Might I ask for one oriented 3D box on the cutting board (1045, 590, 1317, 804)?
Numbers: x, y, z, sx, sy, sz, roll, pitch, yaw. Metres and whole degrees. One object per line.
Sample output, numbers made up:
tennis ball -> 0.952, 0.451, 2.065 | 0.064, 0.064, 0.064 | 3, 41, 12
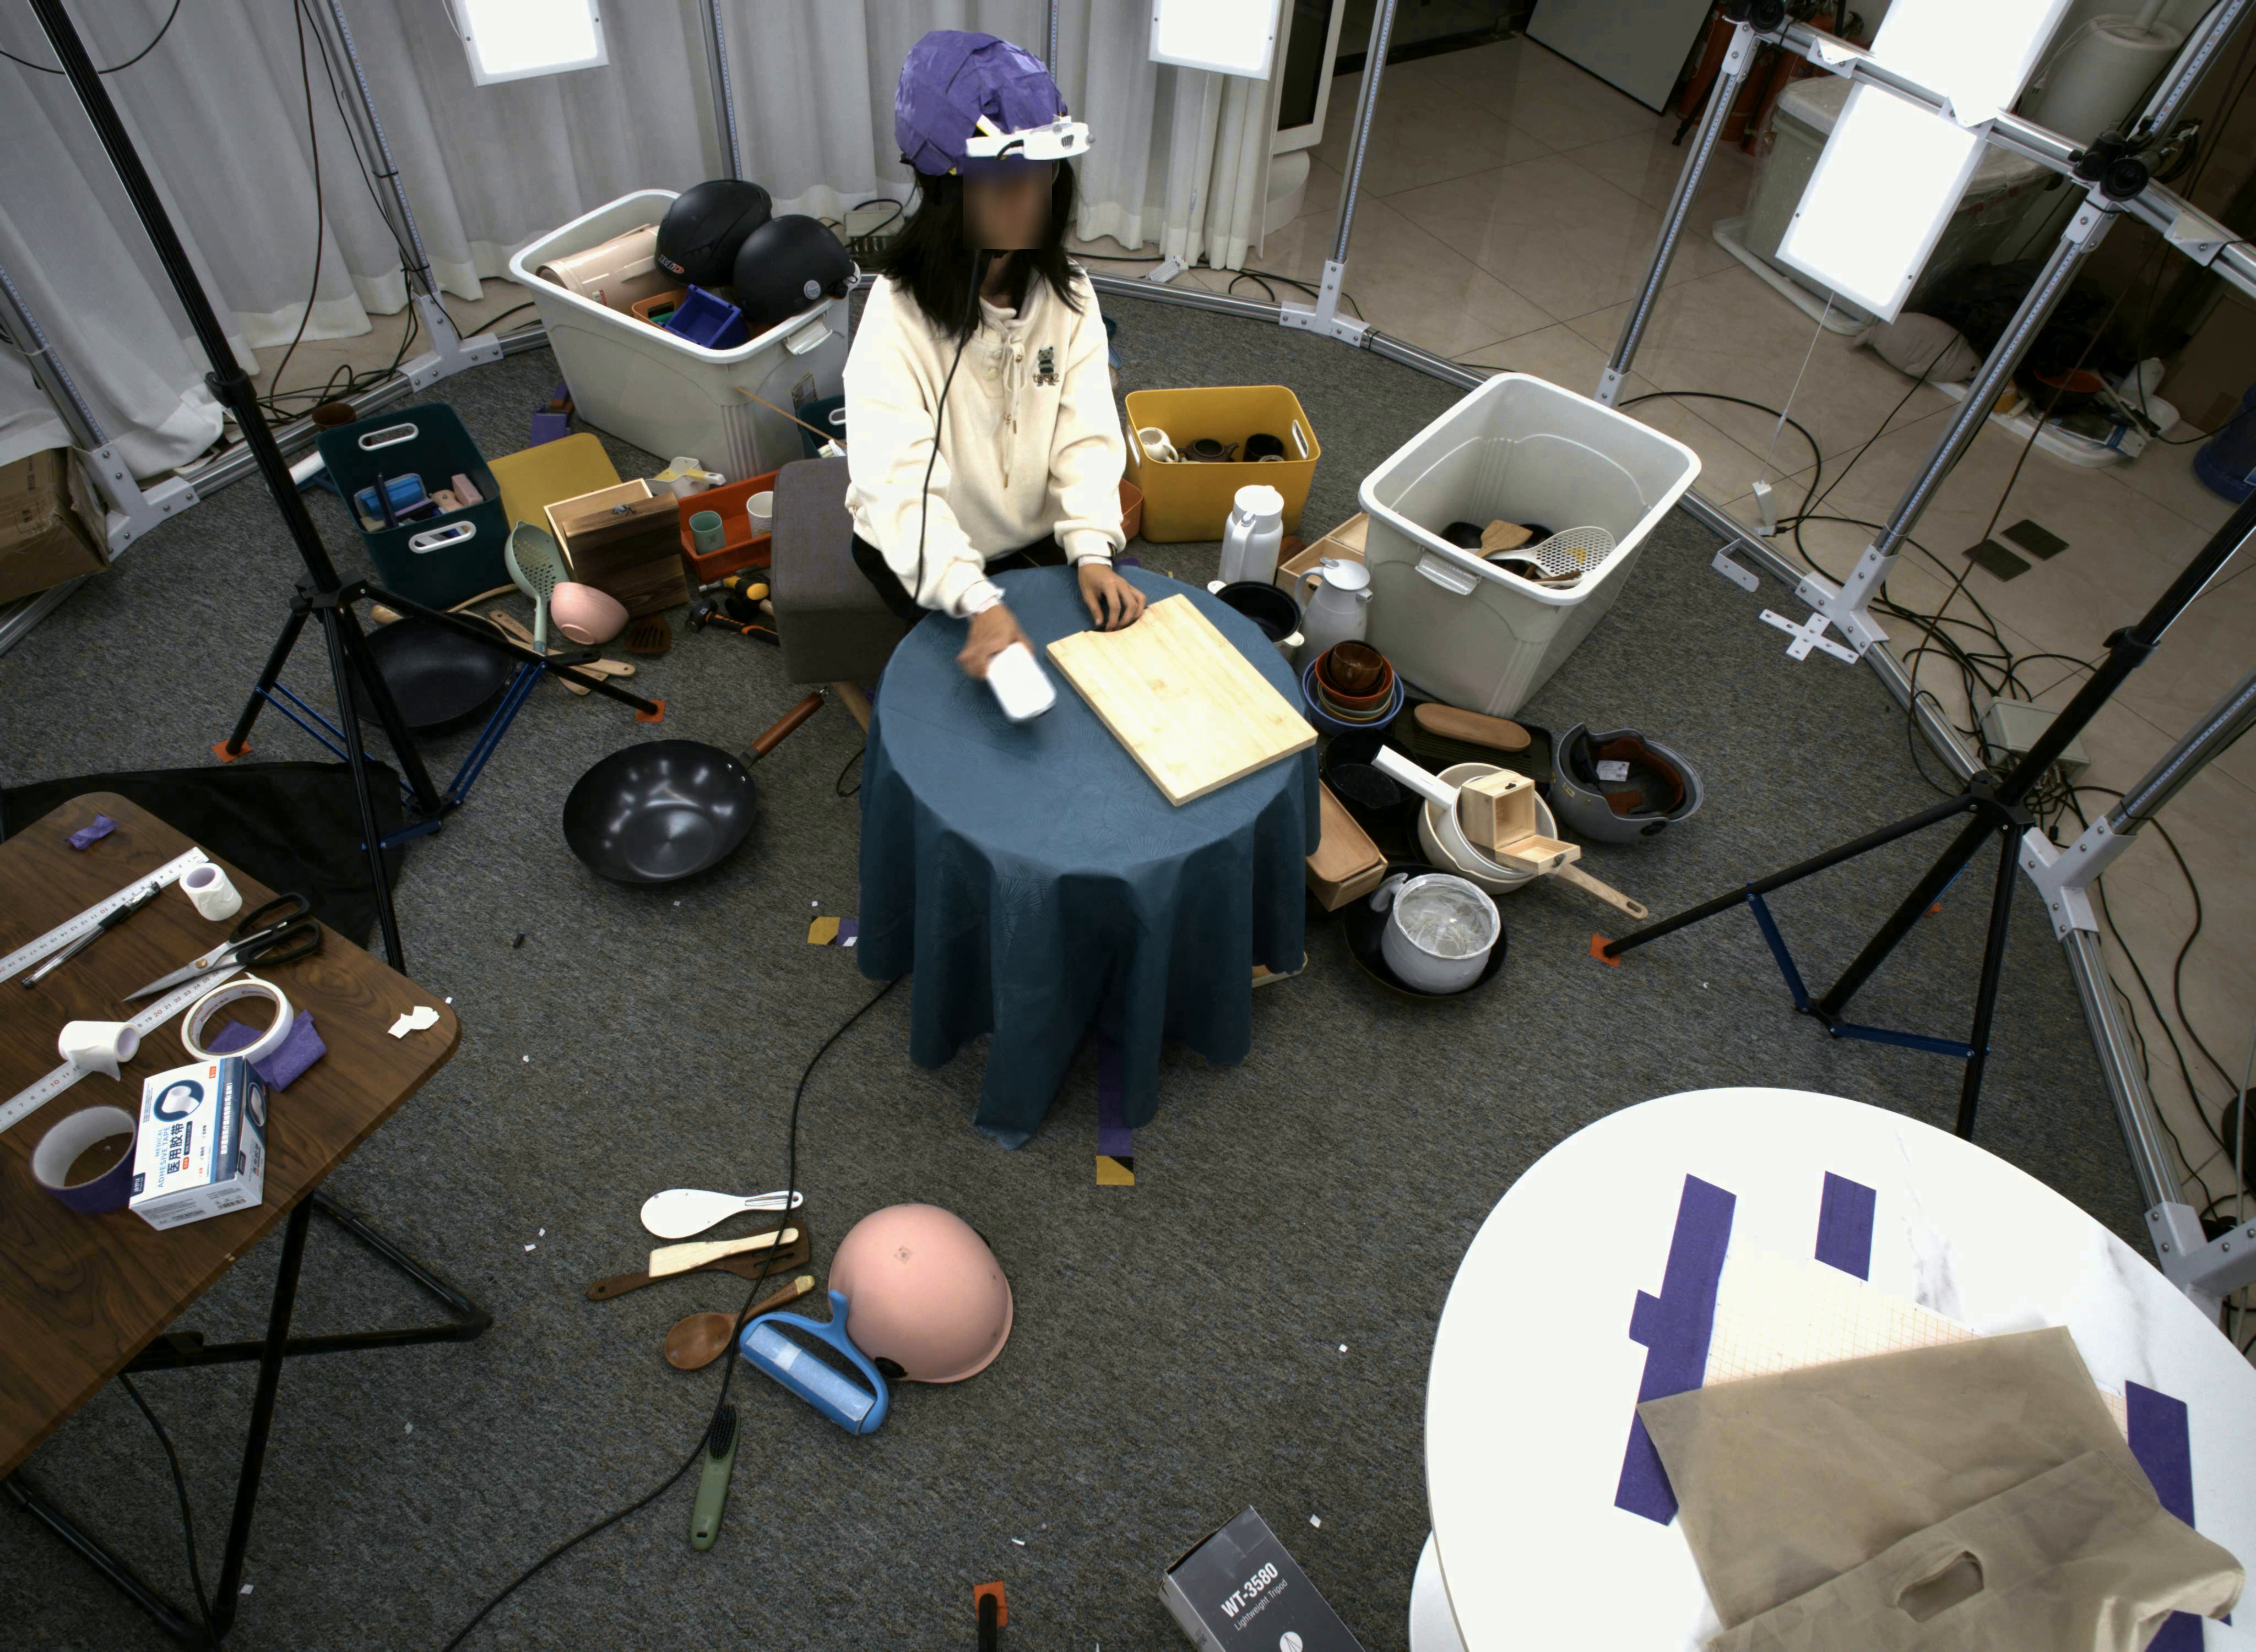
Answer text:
cutting board -> 0.070, -0.193, 1.831 | 0.252, 0.023, 0.355 | -25, 55, -23

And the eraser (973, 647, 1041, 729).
eraser -> -0.165, -0.192, 1.768 | 0.063, 0.034, 0.134 | -20, 56, -11
